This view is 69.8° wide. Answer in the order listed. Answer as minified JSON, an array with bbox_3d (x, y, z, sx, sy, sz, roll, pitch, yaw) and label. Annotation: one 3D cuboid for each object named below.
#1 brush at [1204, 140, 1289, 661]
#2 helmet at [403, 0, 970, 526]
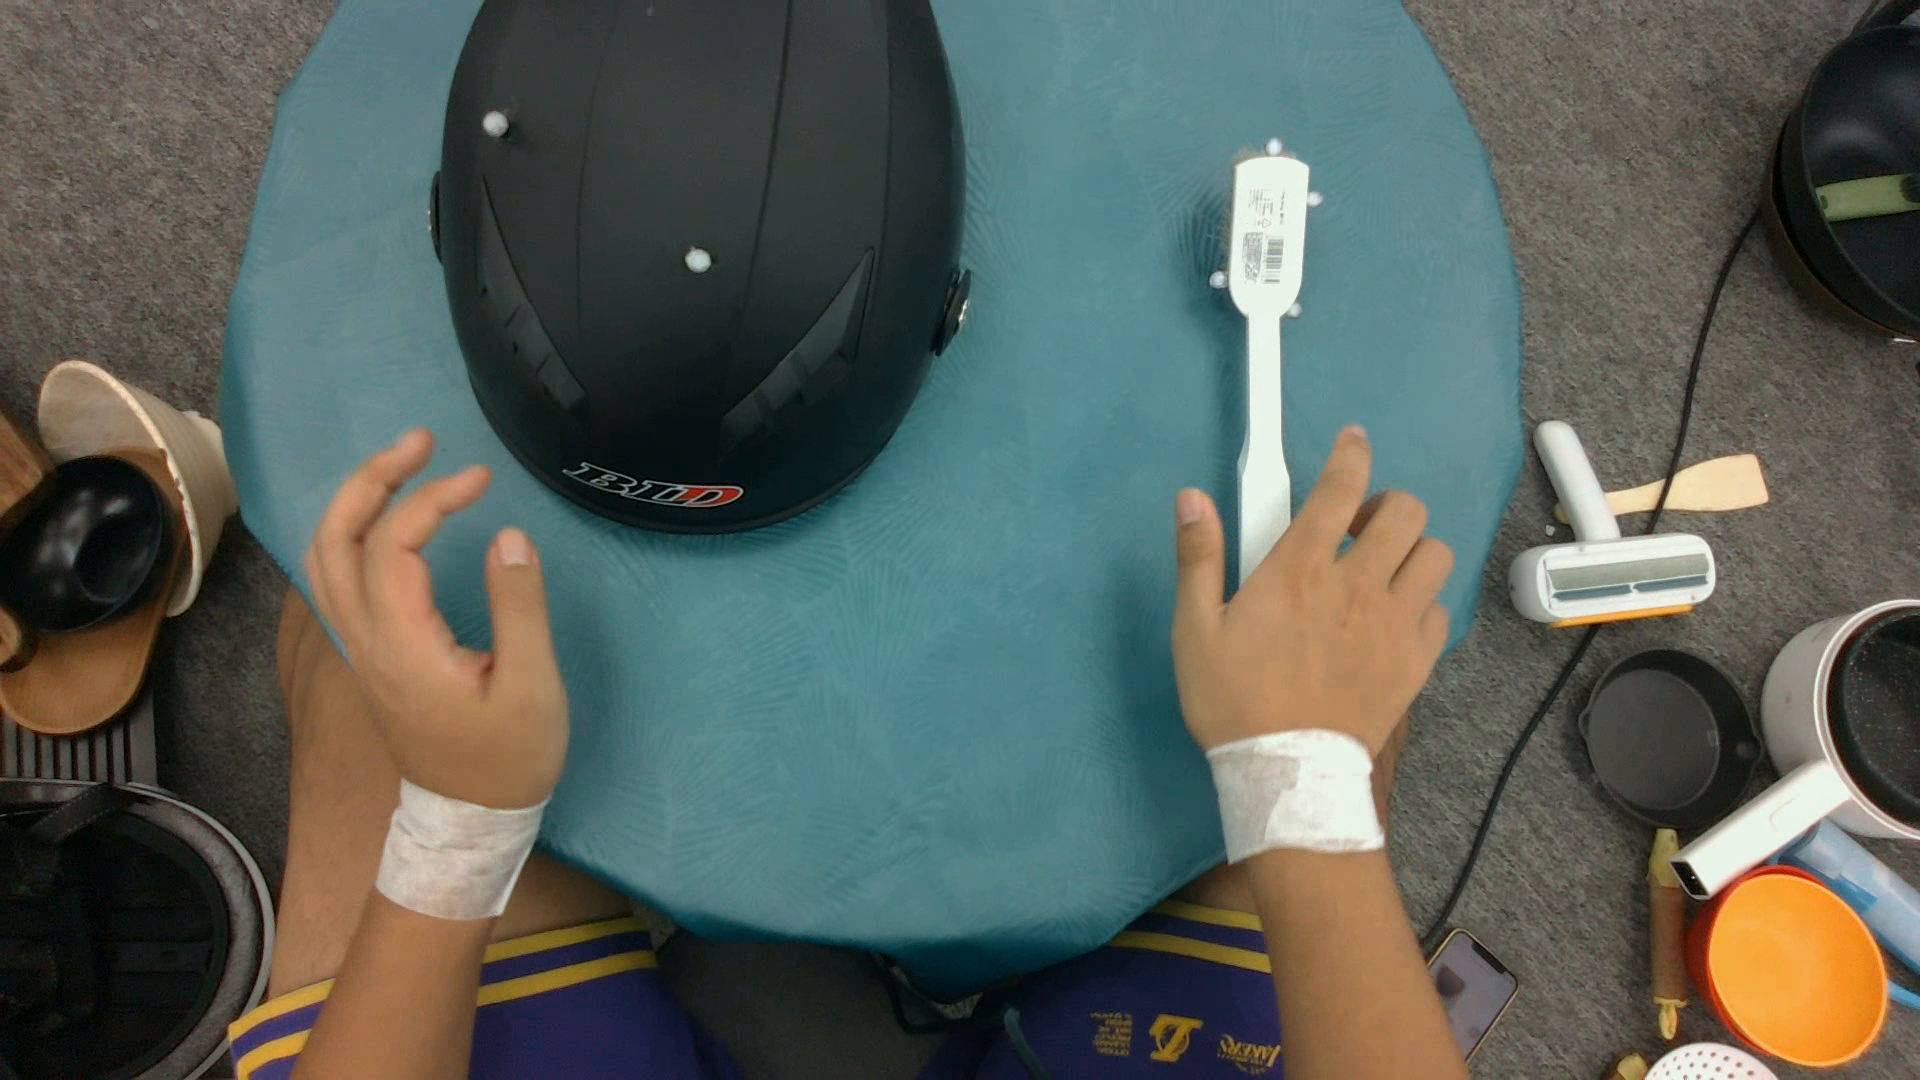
[{"bbox_3d":[0.135,-0.067,0.644,0.034,0.050,0.243,-1,91,3],"label":"brush"},{"bbox_3d":[-0.113,-0.156,0.562,0.247,0.172,0.277,11,75,-5],"label":"helmet"}]
